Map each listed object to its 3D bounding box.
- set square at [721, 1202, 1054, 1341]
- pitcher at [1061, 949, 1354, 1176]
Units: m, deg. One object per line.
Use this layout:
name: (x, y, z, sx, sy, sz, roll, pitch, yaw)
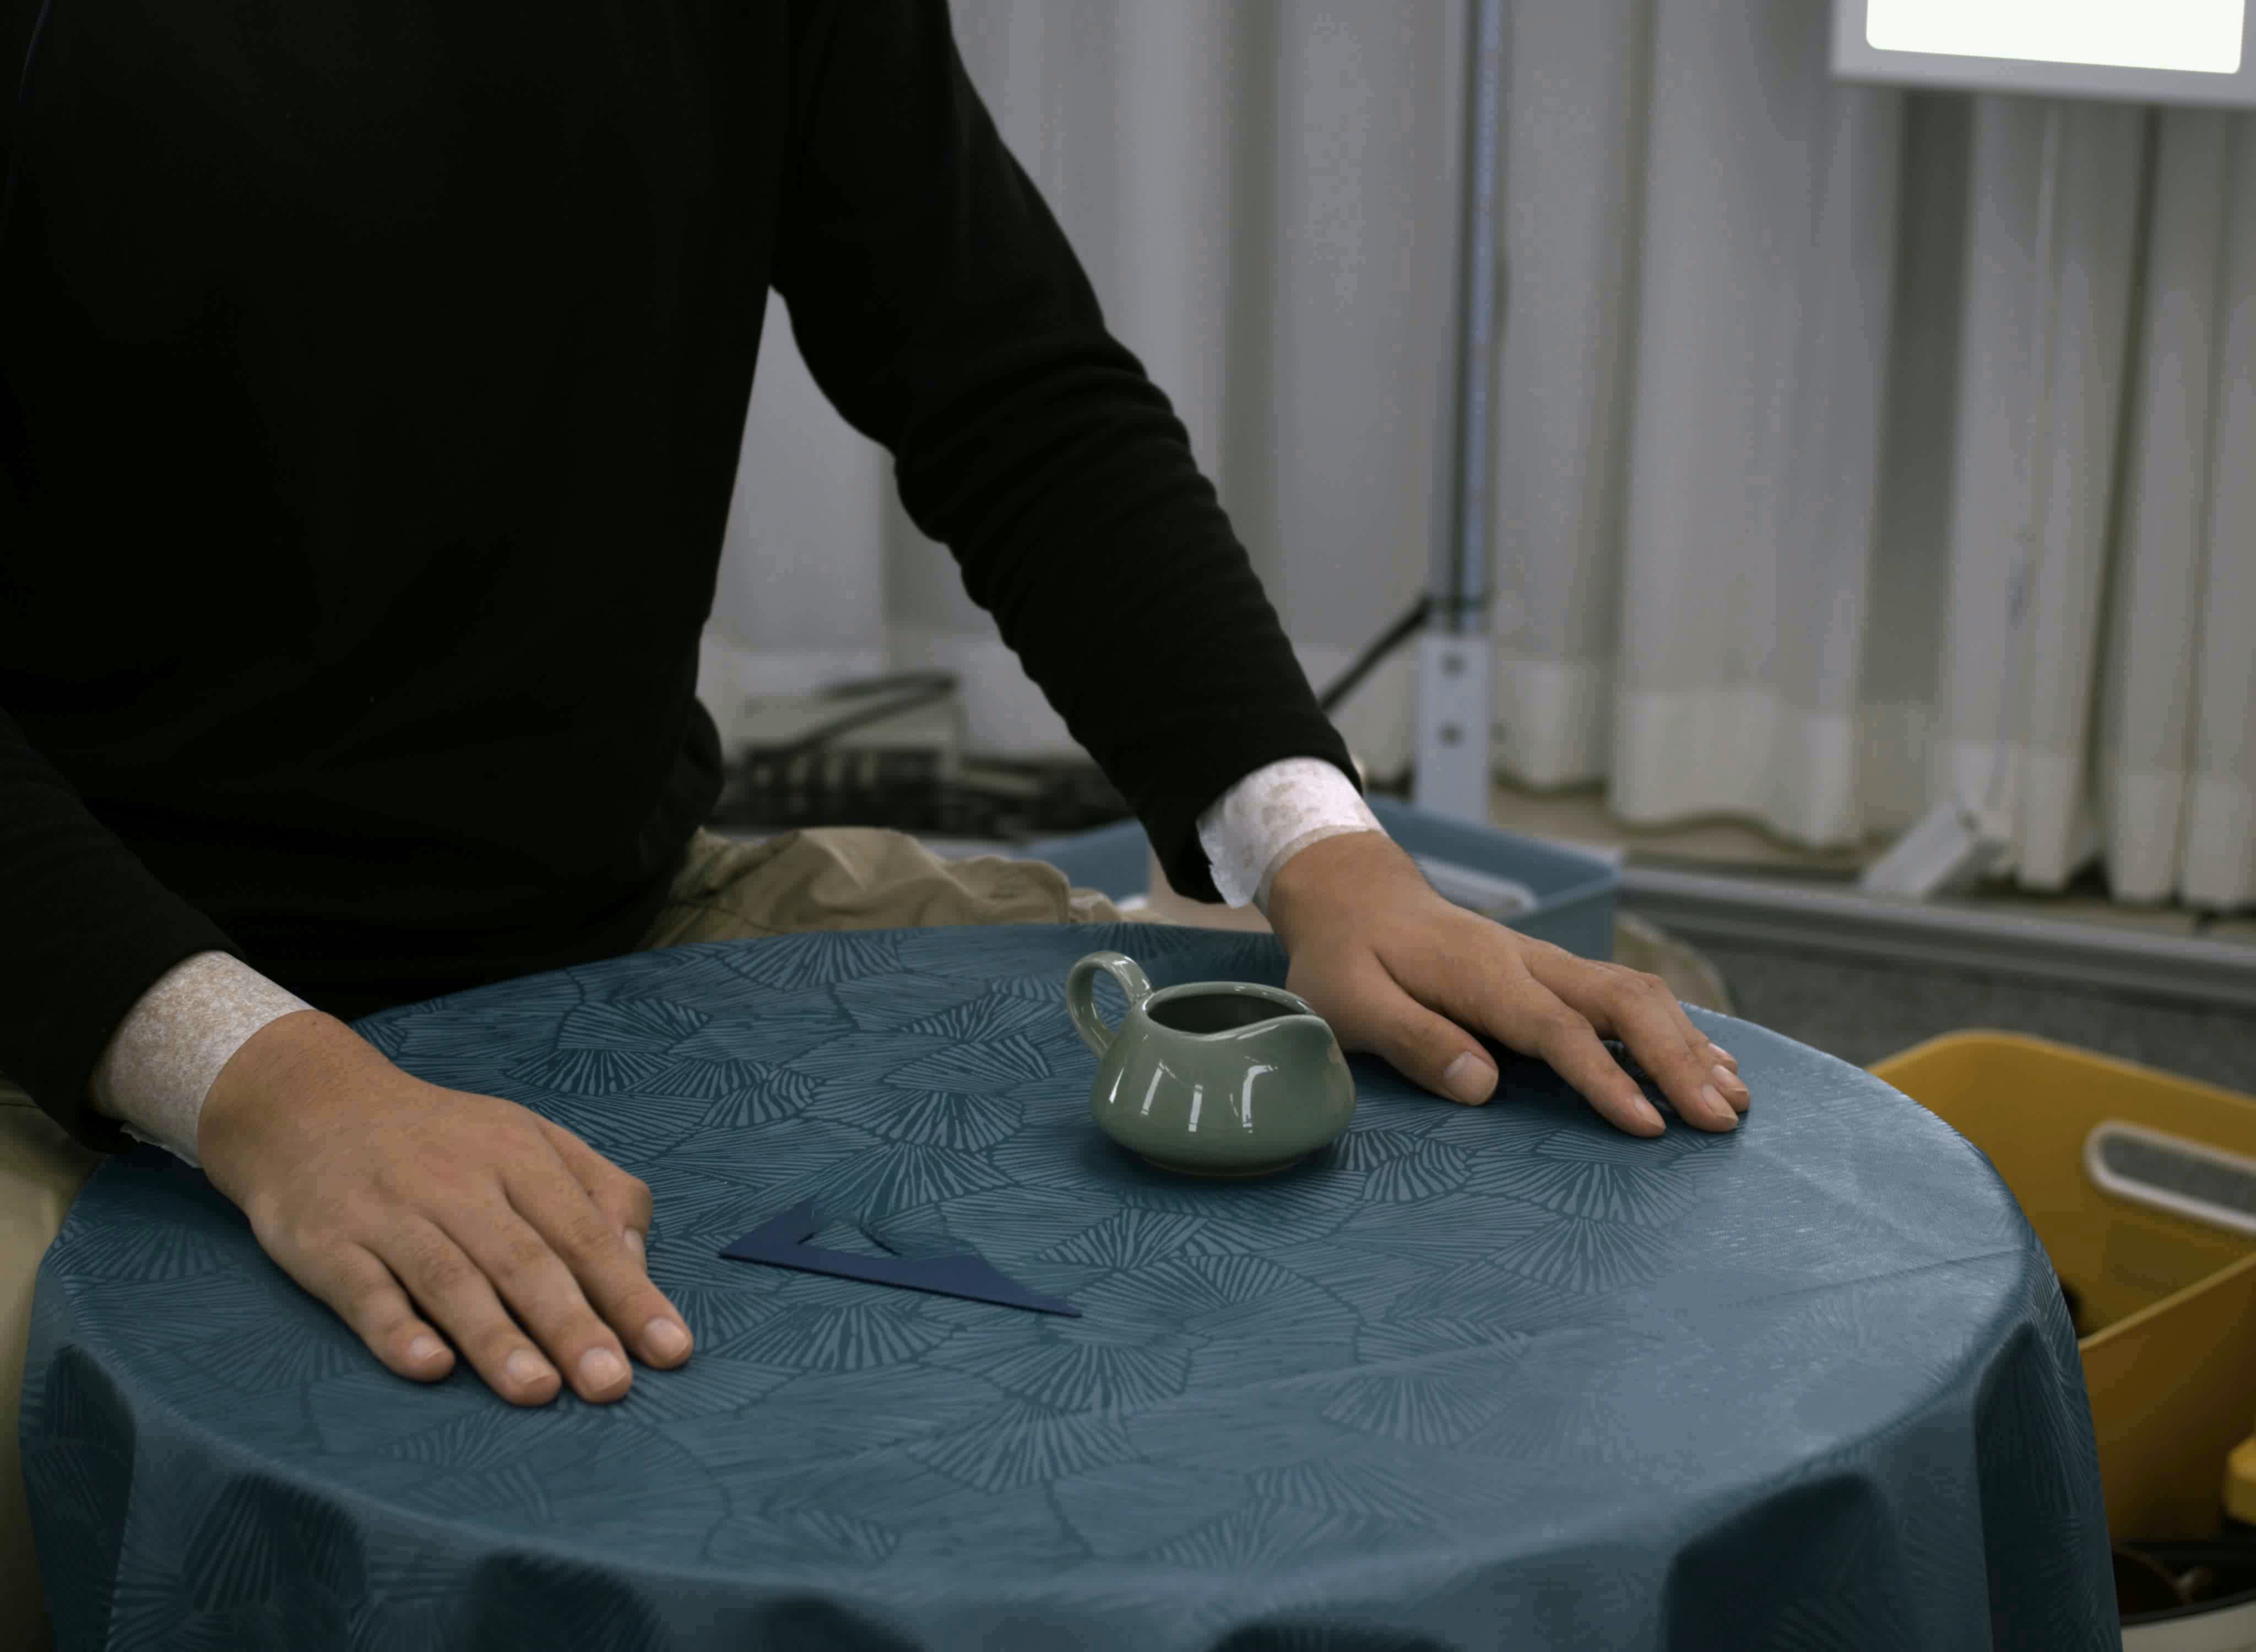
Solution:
set square: (-0.076, 0.132, 1.540, 0.061, 0.006, 0.130, -8, 18, -31)
pitcher: (0.024, 0.074, 1.655, 0.111, 0.056, 0.084, 13, 18, 38)
